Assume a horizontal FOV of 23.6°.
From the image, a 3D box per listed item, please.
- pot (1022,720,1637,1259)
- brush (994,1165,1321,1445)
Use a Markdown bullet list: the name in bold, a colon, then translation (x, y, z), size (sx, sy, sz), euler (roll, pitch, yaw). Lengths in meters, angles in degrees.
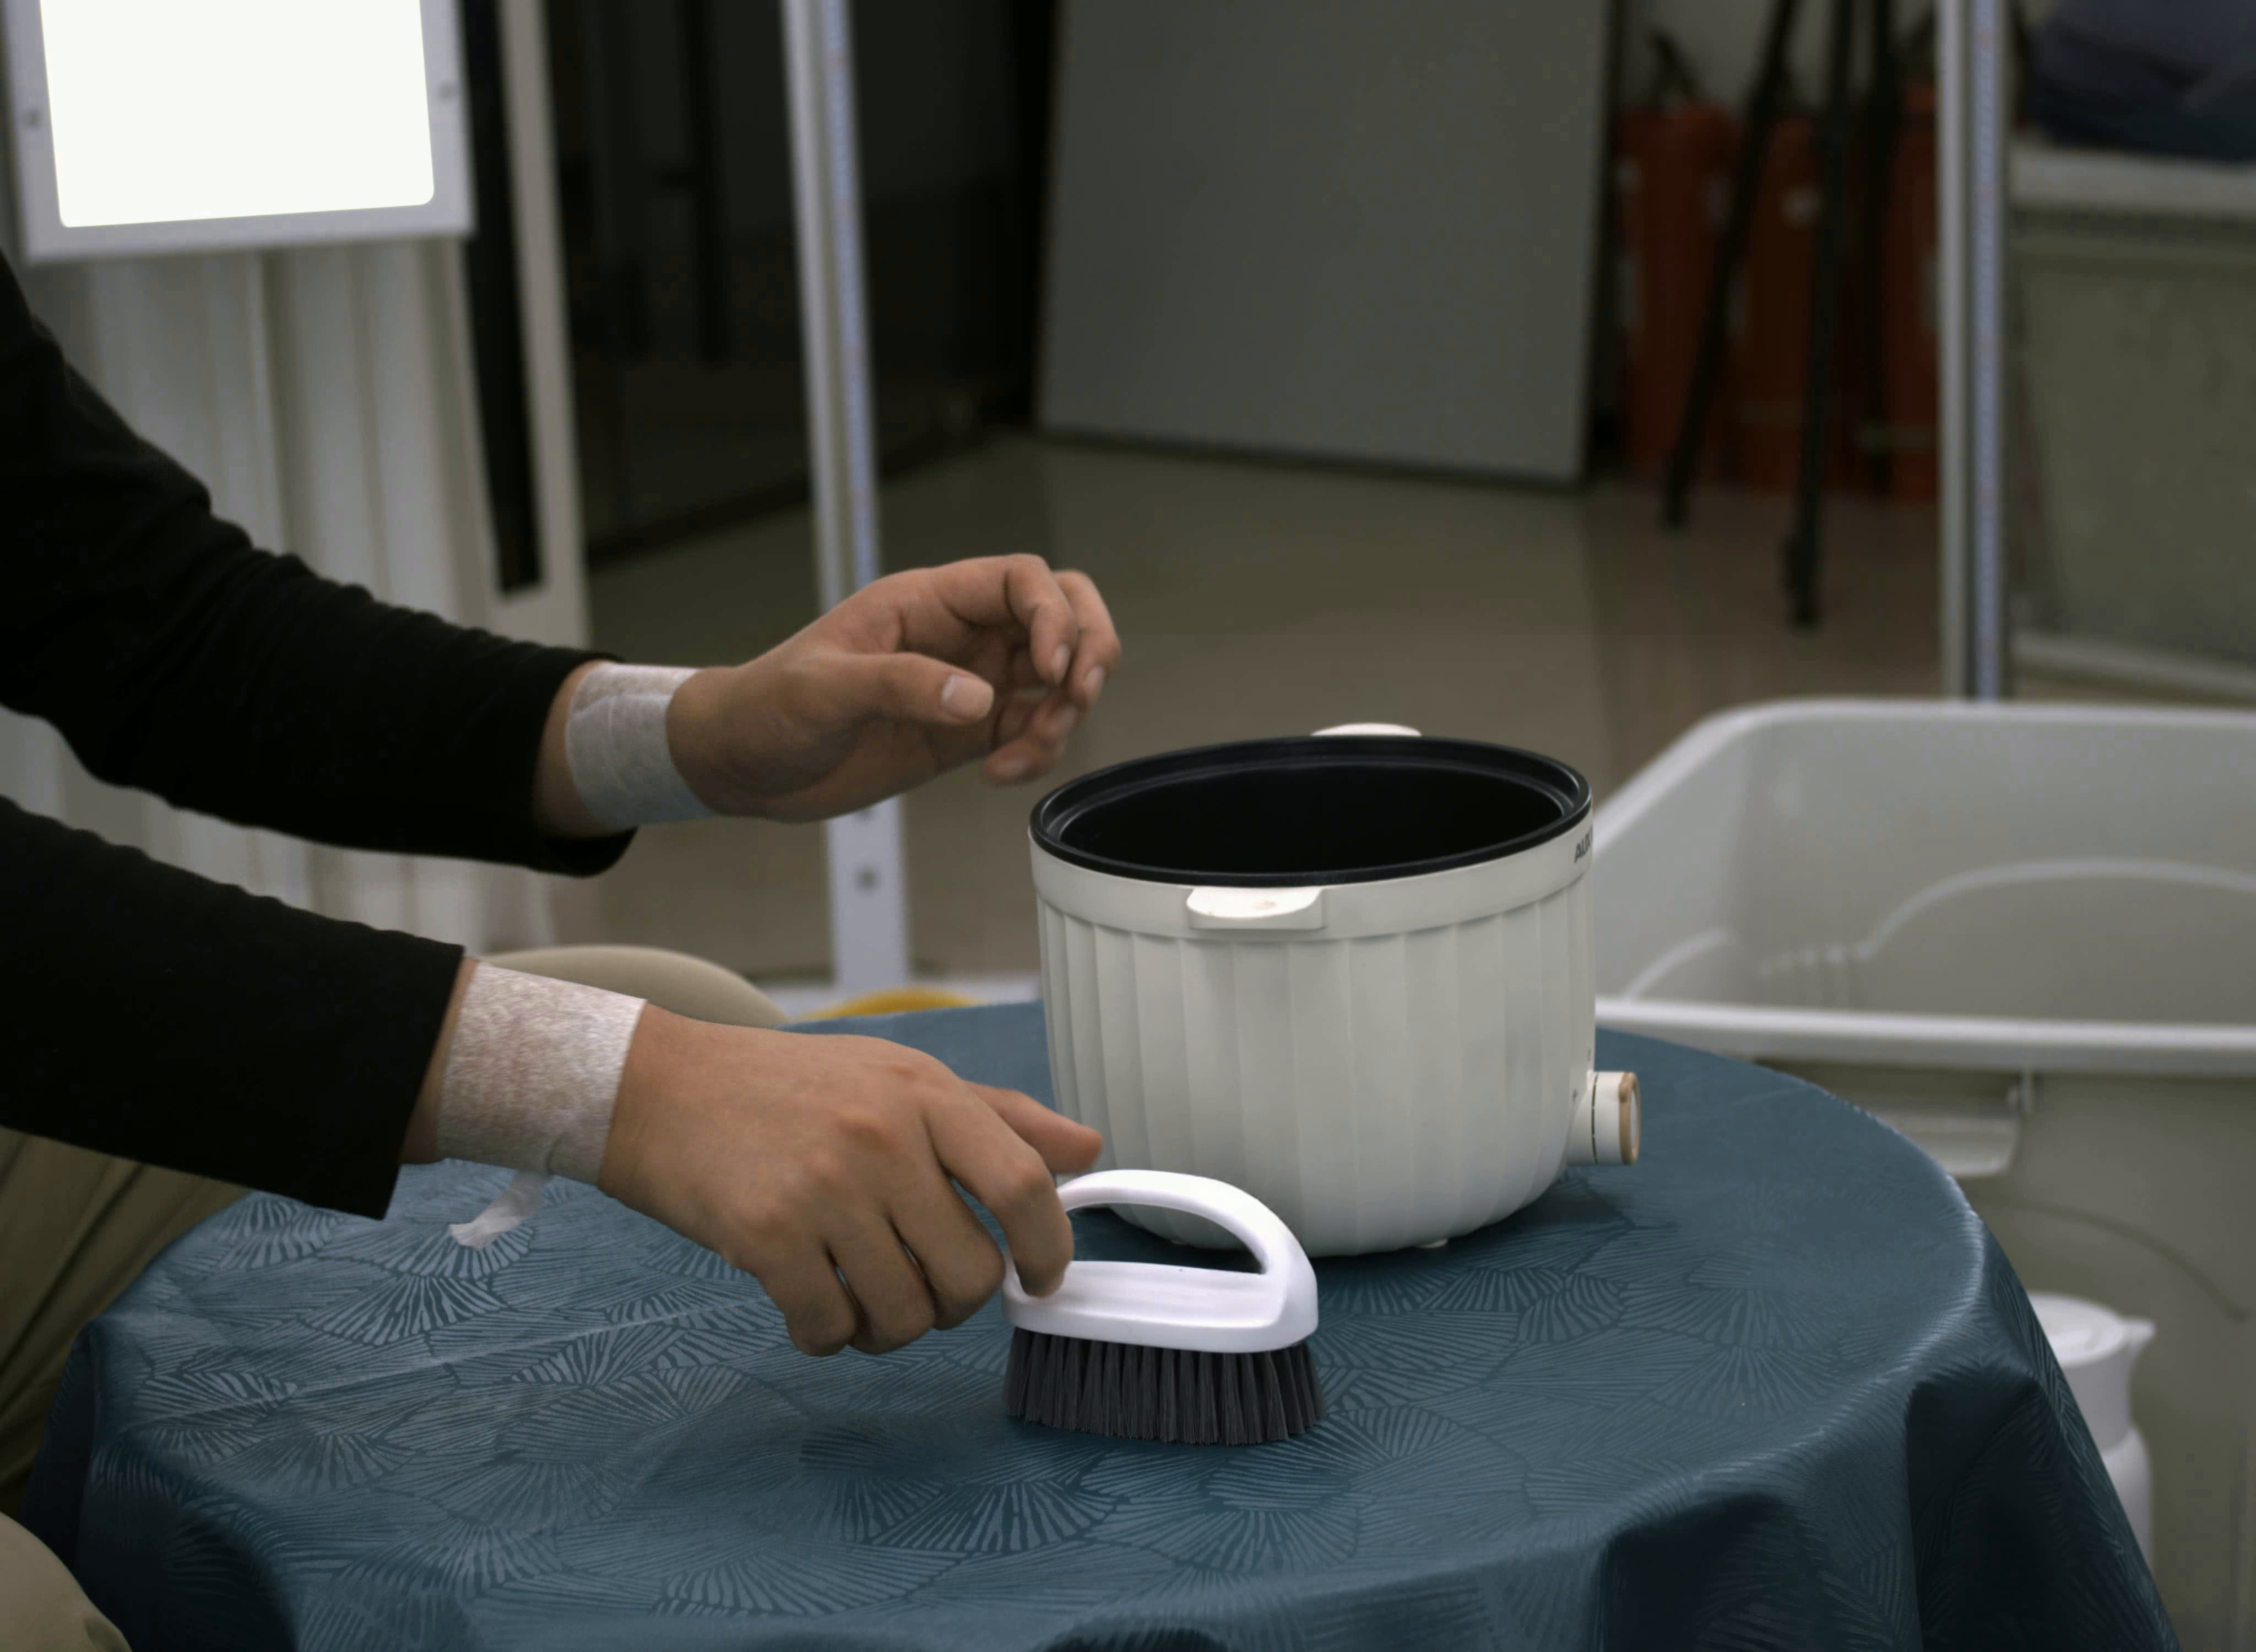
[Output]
- **pot**: translation (0.066, 0.055, 1.729), size (0.189, 0.144, 0.239), euler (-4, 15, 13)
- **brush**: translation (0.007, 0.135, 1.559), size (0.099, 0.073, 0.049), euler (3, 14, 28)
